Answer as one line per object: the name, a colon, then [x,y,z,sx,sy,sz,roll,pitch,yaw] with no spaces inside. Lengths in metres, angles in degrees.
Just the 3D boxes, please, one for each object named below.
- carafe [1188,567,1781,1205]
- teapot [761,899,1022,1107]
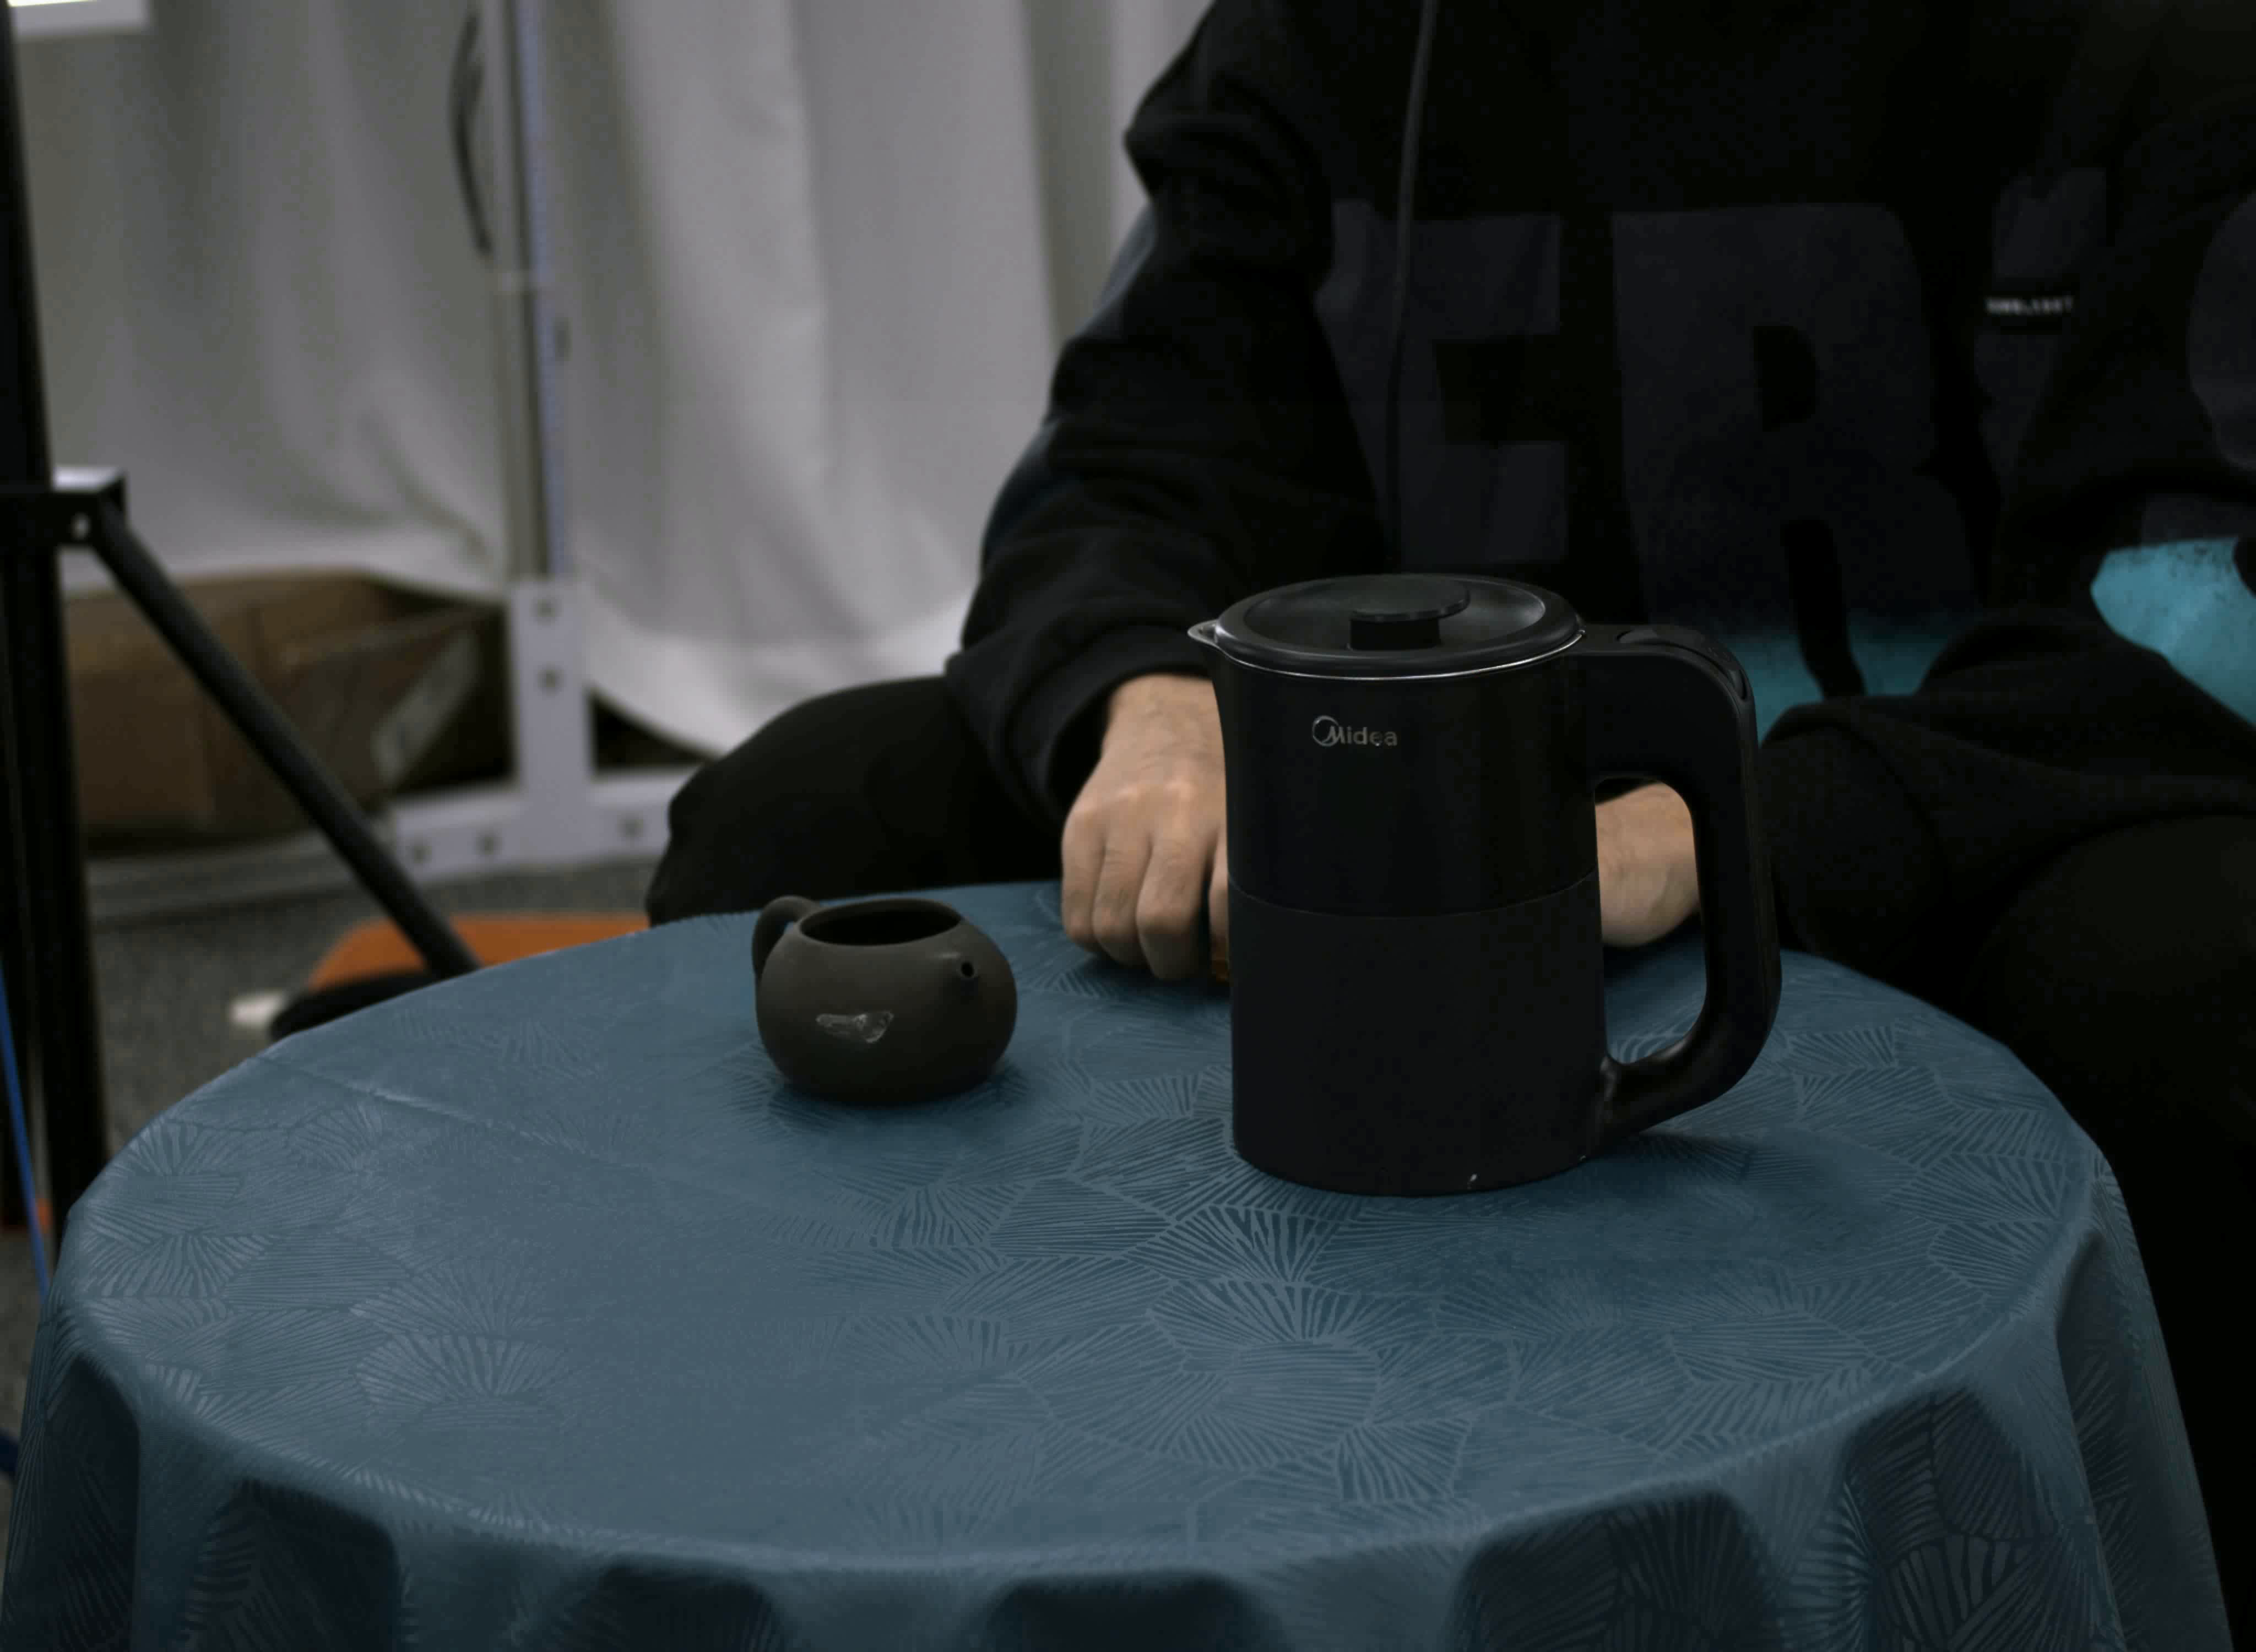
carafe: [0.105,0.012,1.565,0.173,0.173,0.113,-1,13,15]
teapot: [-0.081,0.053,1.676,0.081,0.053,0.117,-11,21,-31]
